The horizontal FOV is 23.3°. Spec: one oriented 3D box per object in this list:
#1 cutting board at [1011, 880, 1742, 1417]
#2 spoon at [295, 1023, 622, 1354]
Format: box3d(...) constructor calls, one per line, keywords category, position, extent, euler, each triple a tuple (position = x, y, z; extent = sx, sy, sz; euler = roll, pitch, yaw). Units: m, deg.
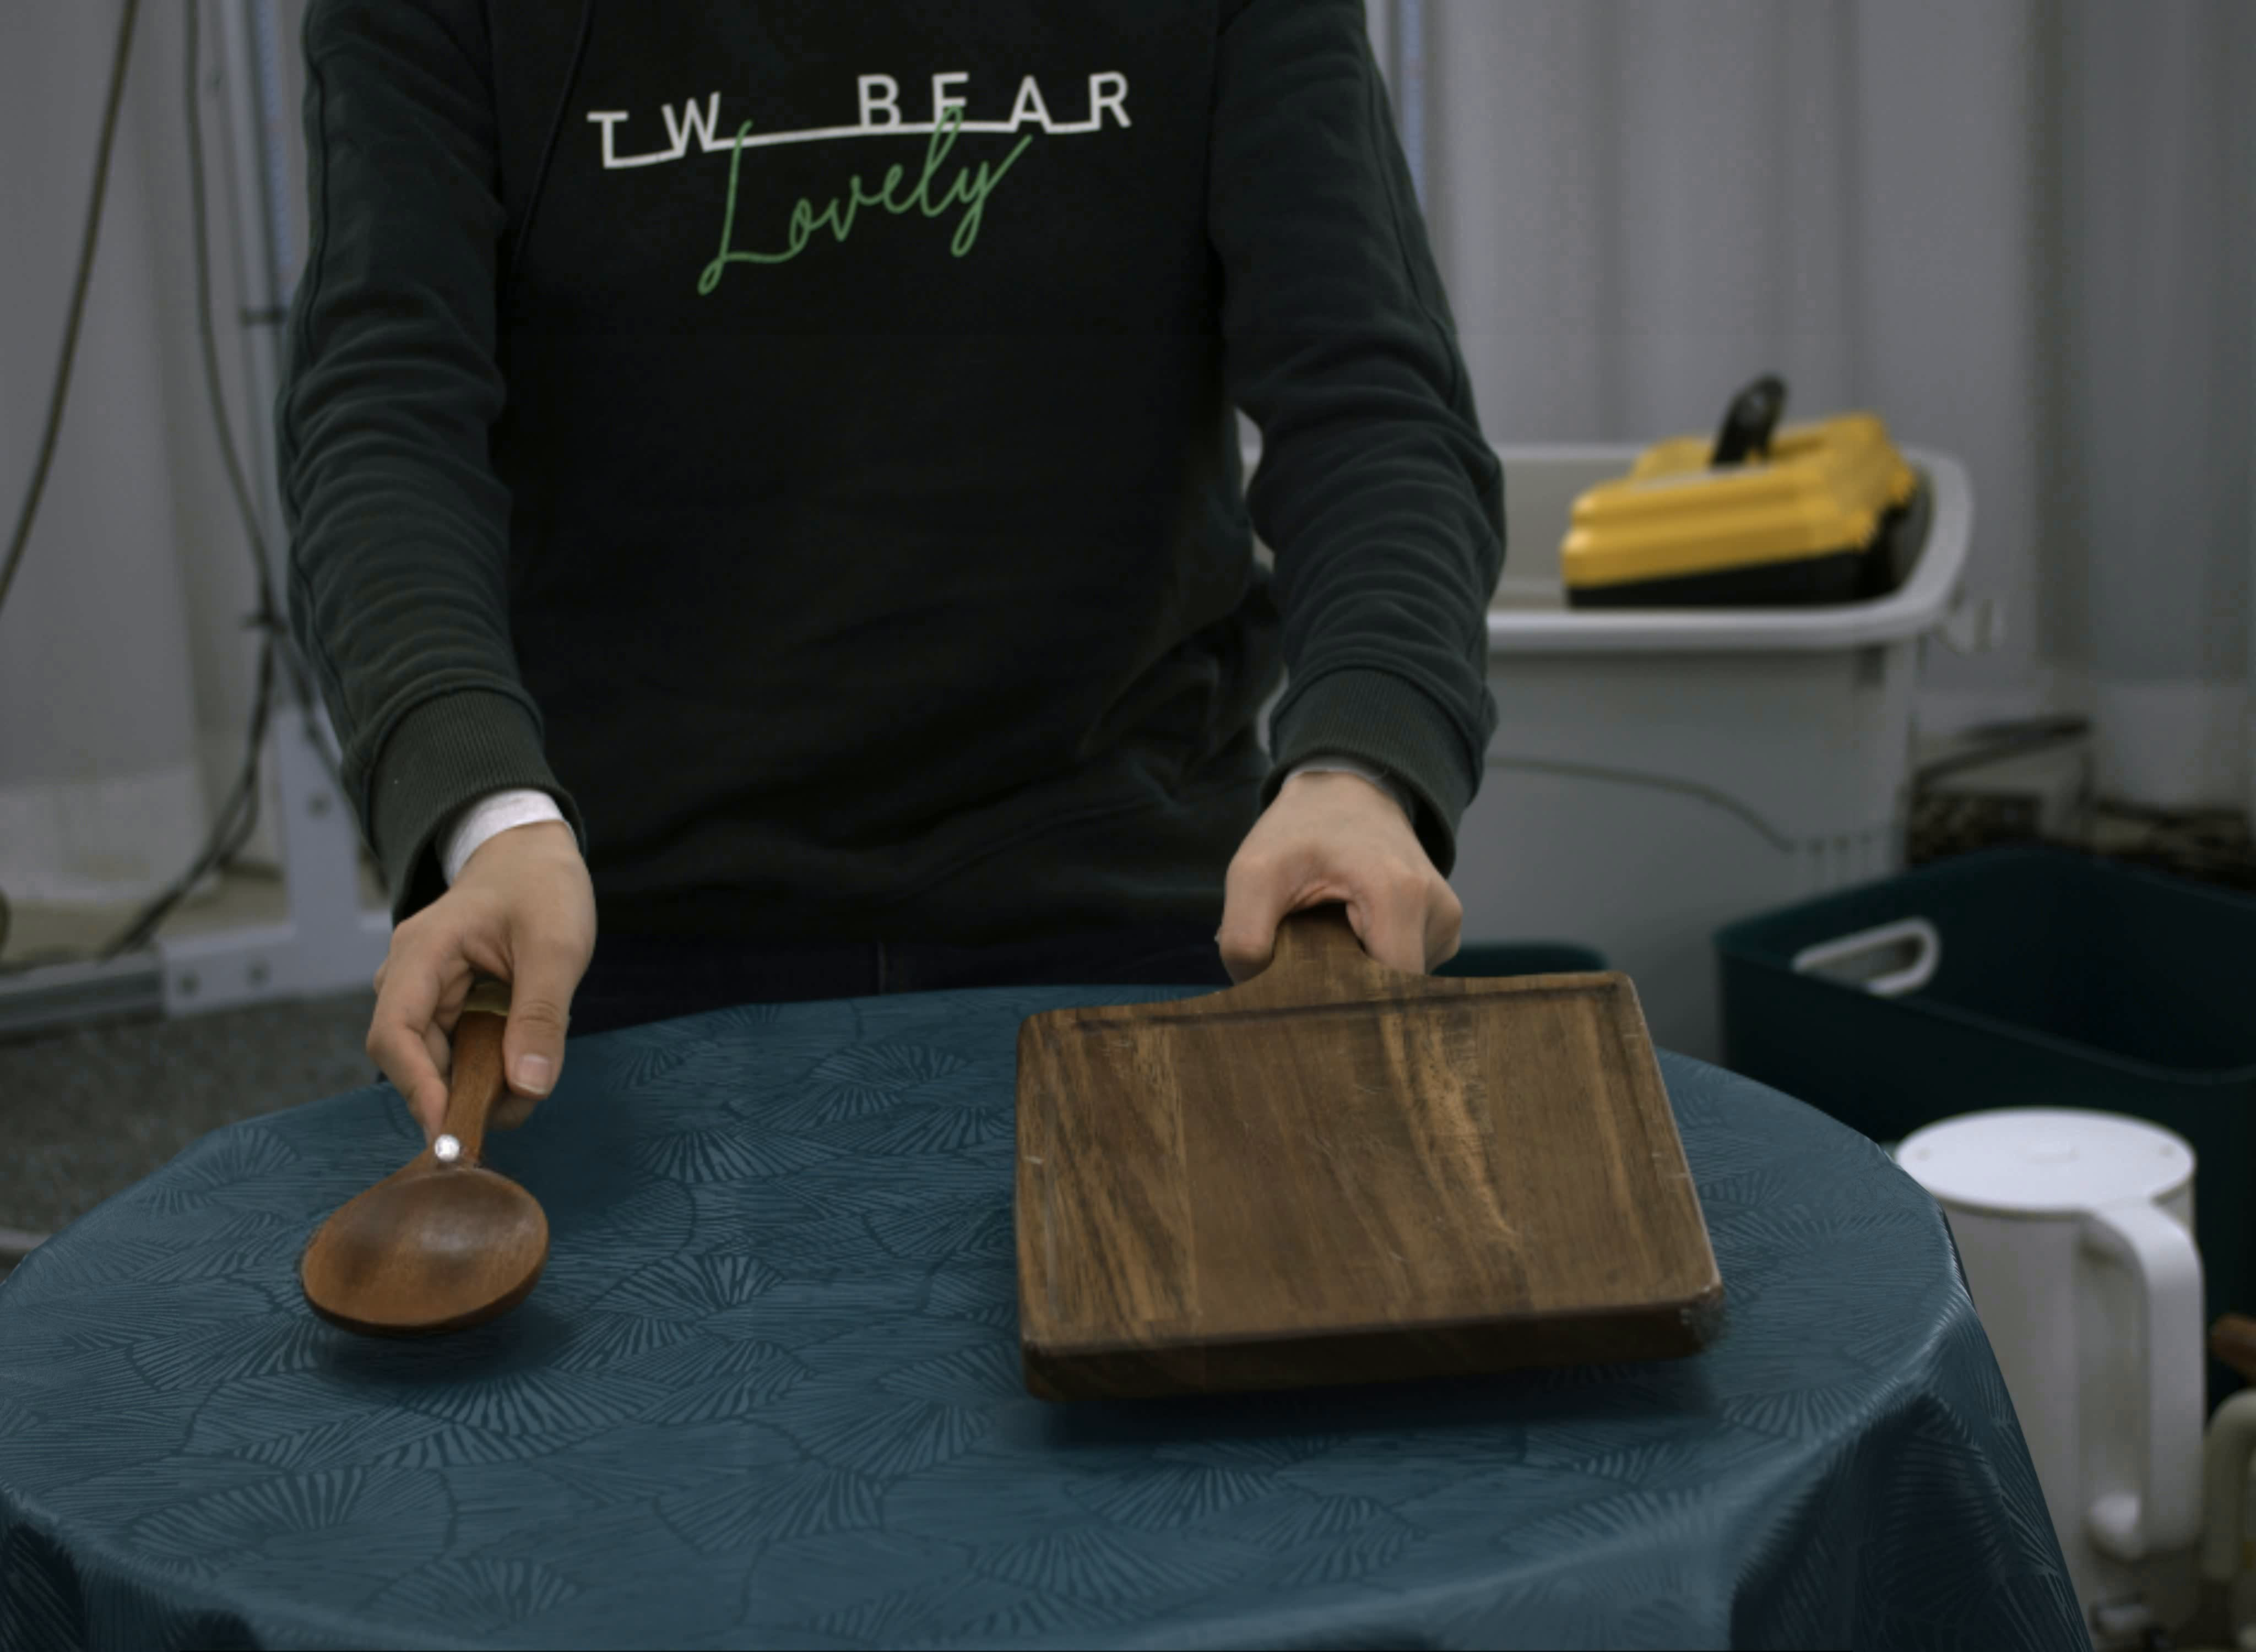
box3d(category="cutting board", position=(0.065, 0.087, 1.659), extent=(0.200, 0.023, 0.355), euler=(-5, 20, 0))
box3d(category="spoon", position=(-0.192, 0.111, 1.660), extent=(0.075, 0.017, 0.217), euler=(3, 23, 11))
